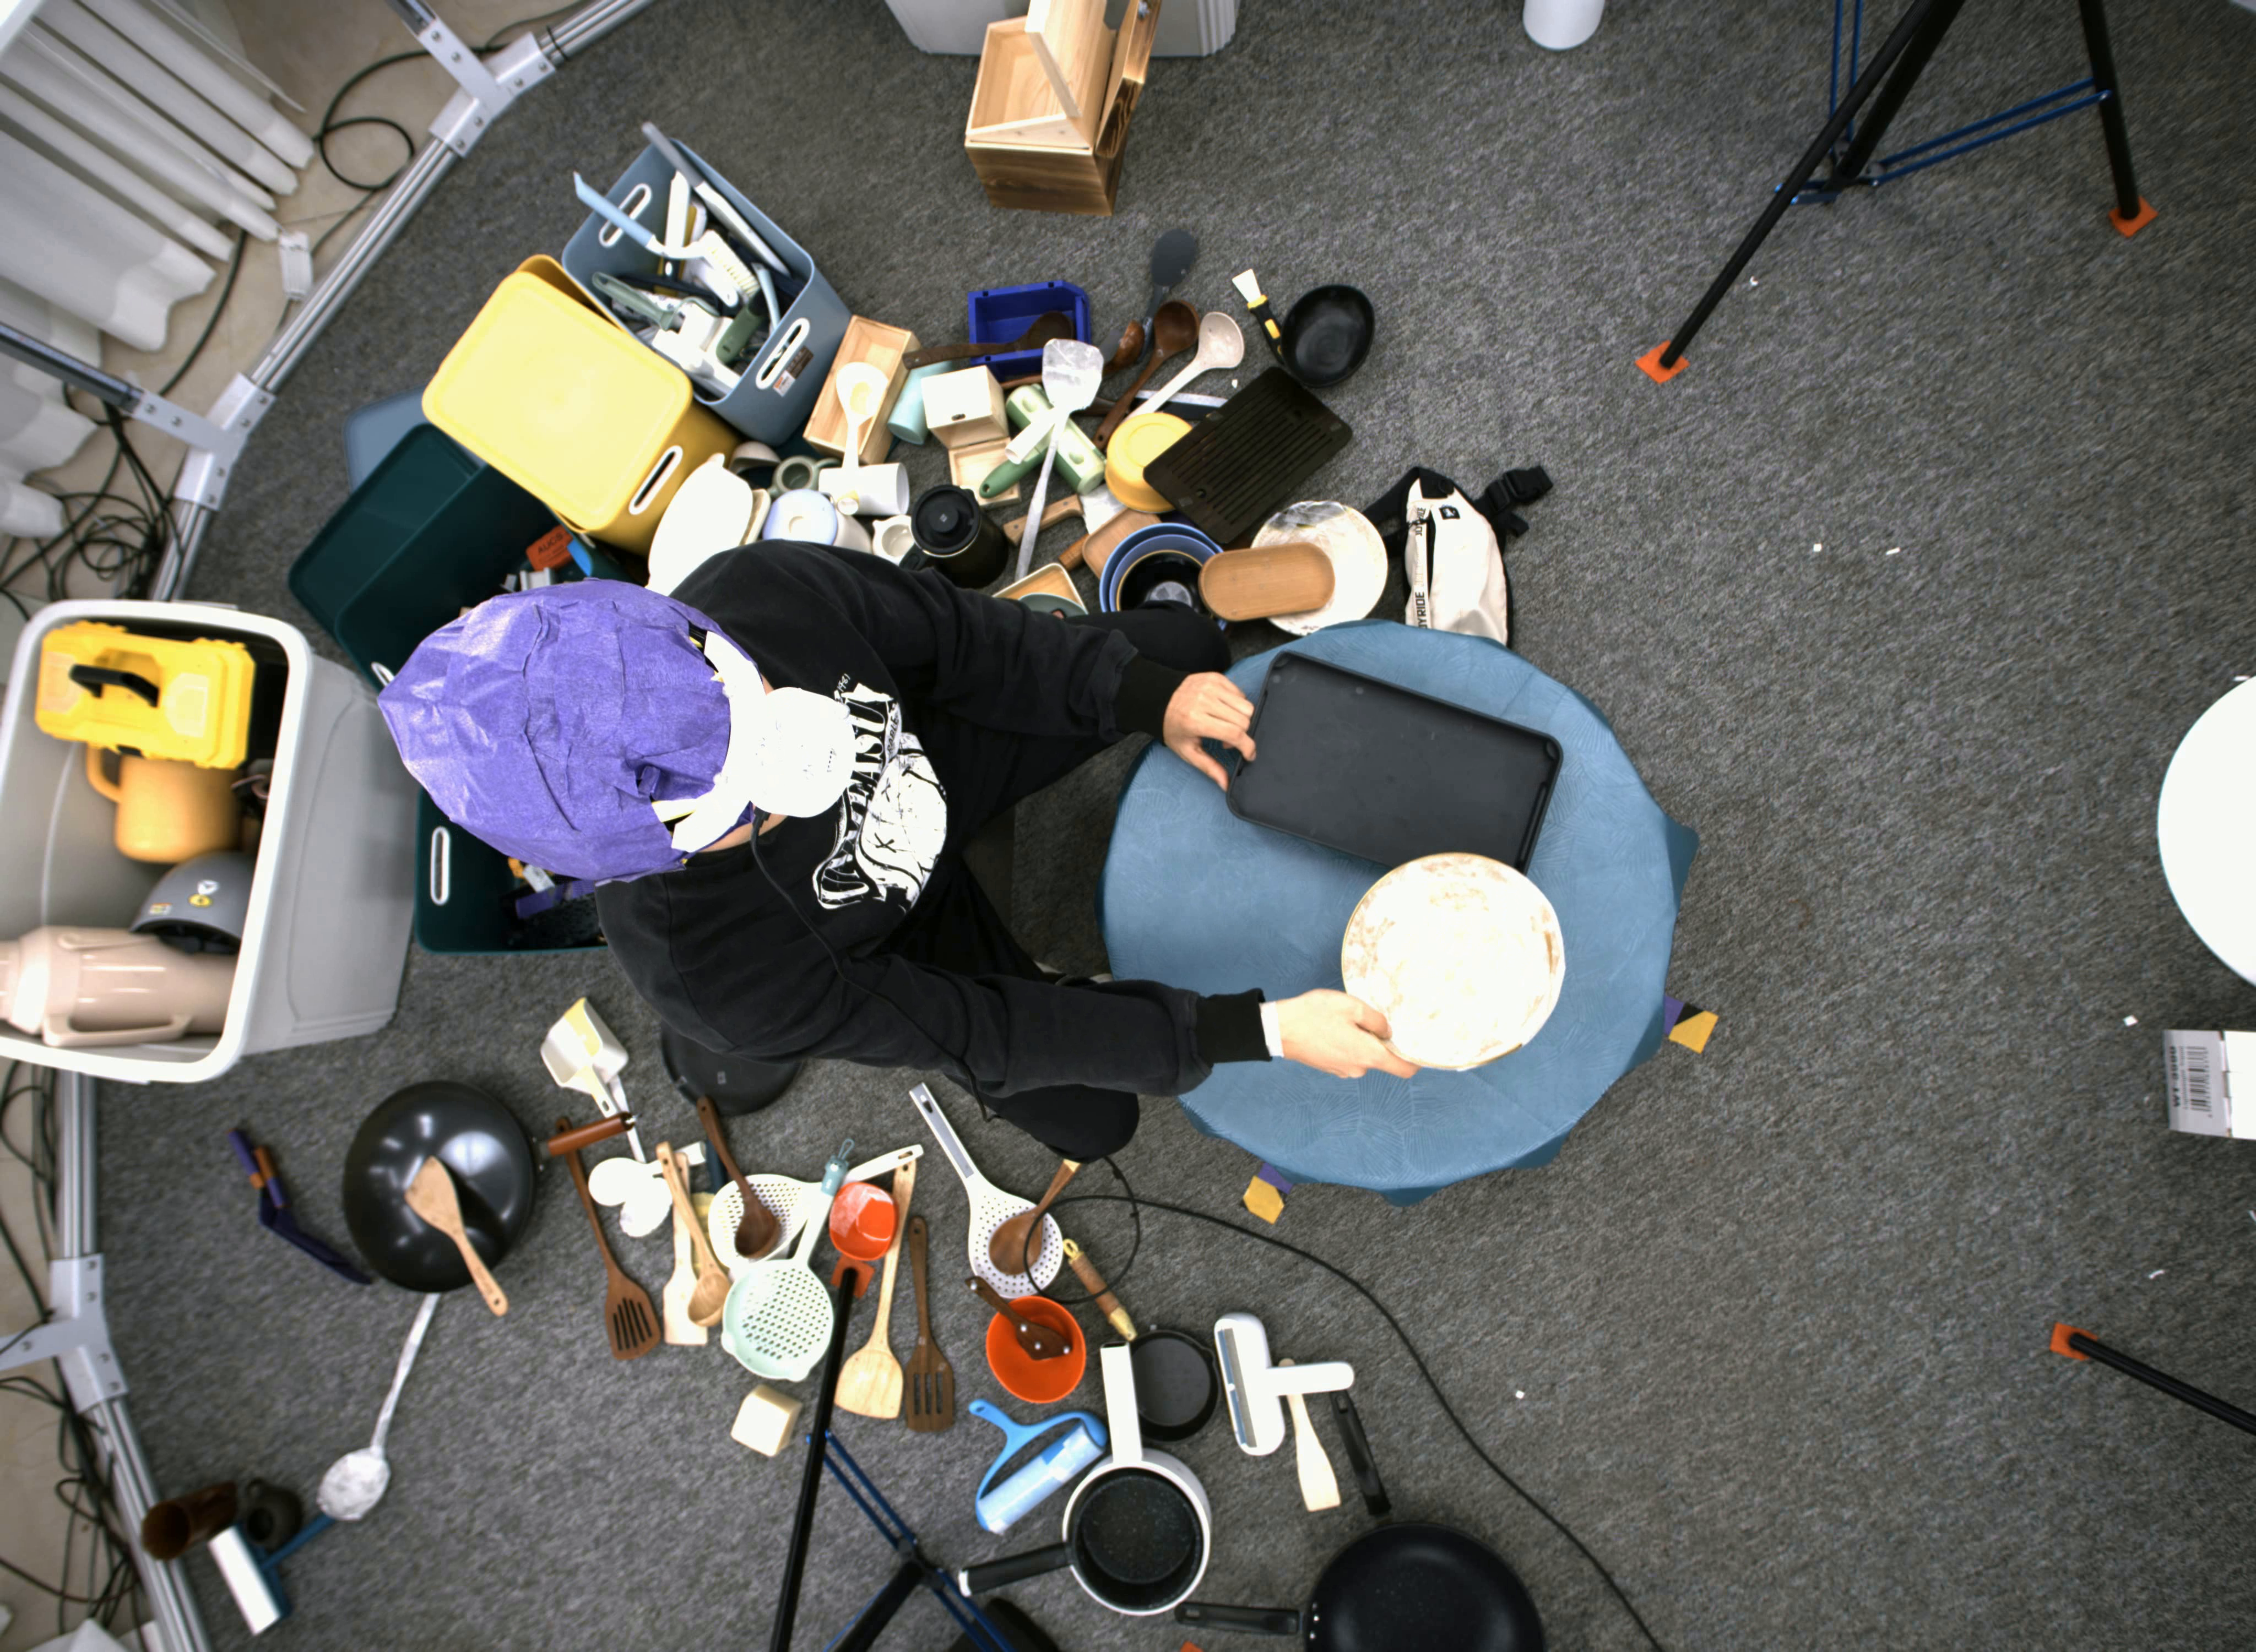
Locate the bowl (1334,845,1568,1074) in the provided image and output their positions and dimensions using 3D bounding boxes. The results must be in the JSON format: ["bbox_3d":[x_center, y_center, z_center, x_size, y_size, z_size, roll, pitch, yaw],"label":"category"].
[{"bbox_3d":[0.309,0.132,1.303,0.216,0.095,0.212,-6,75,21],"label":"bowl"}]

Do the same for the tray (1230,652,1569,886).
[{"bbox_3d":[0.279,-0.048,1.428,0.318,0.037,0.184,20,92,4],"label":"tray"}]
